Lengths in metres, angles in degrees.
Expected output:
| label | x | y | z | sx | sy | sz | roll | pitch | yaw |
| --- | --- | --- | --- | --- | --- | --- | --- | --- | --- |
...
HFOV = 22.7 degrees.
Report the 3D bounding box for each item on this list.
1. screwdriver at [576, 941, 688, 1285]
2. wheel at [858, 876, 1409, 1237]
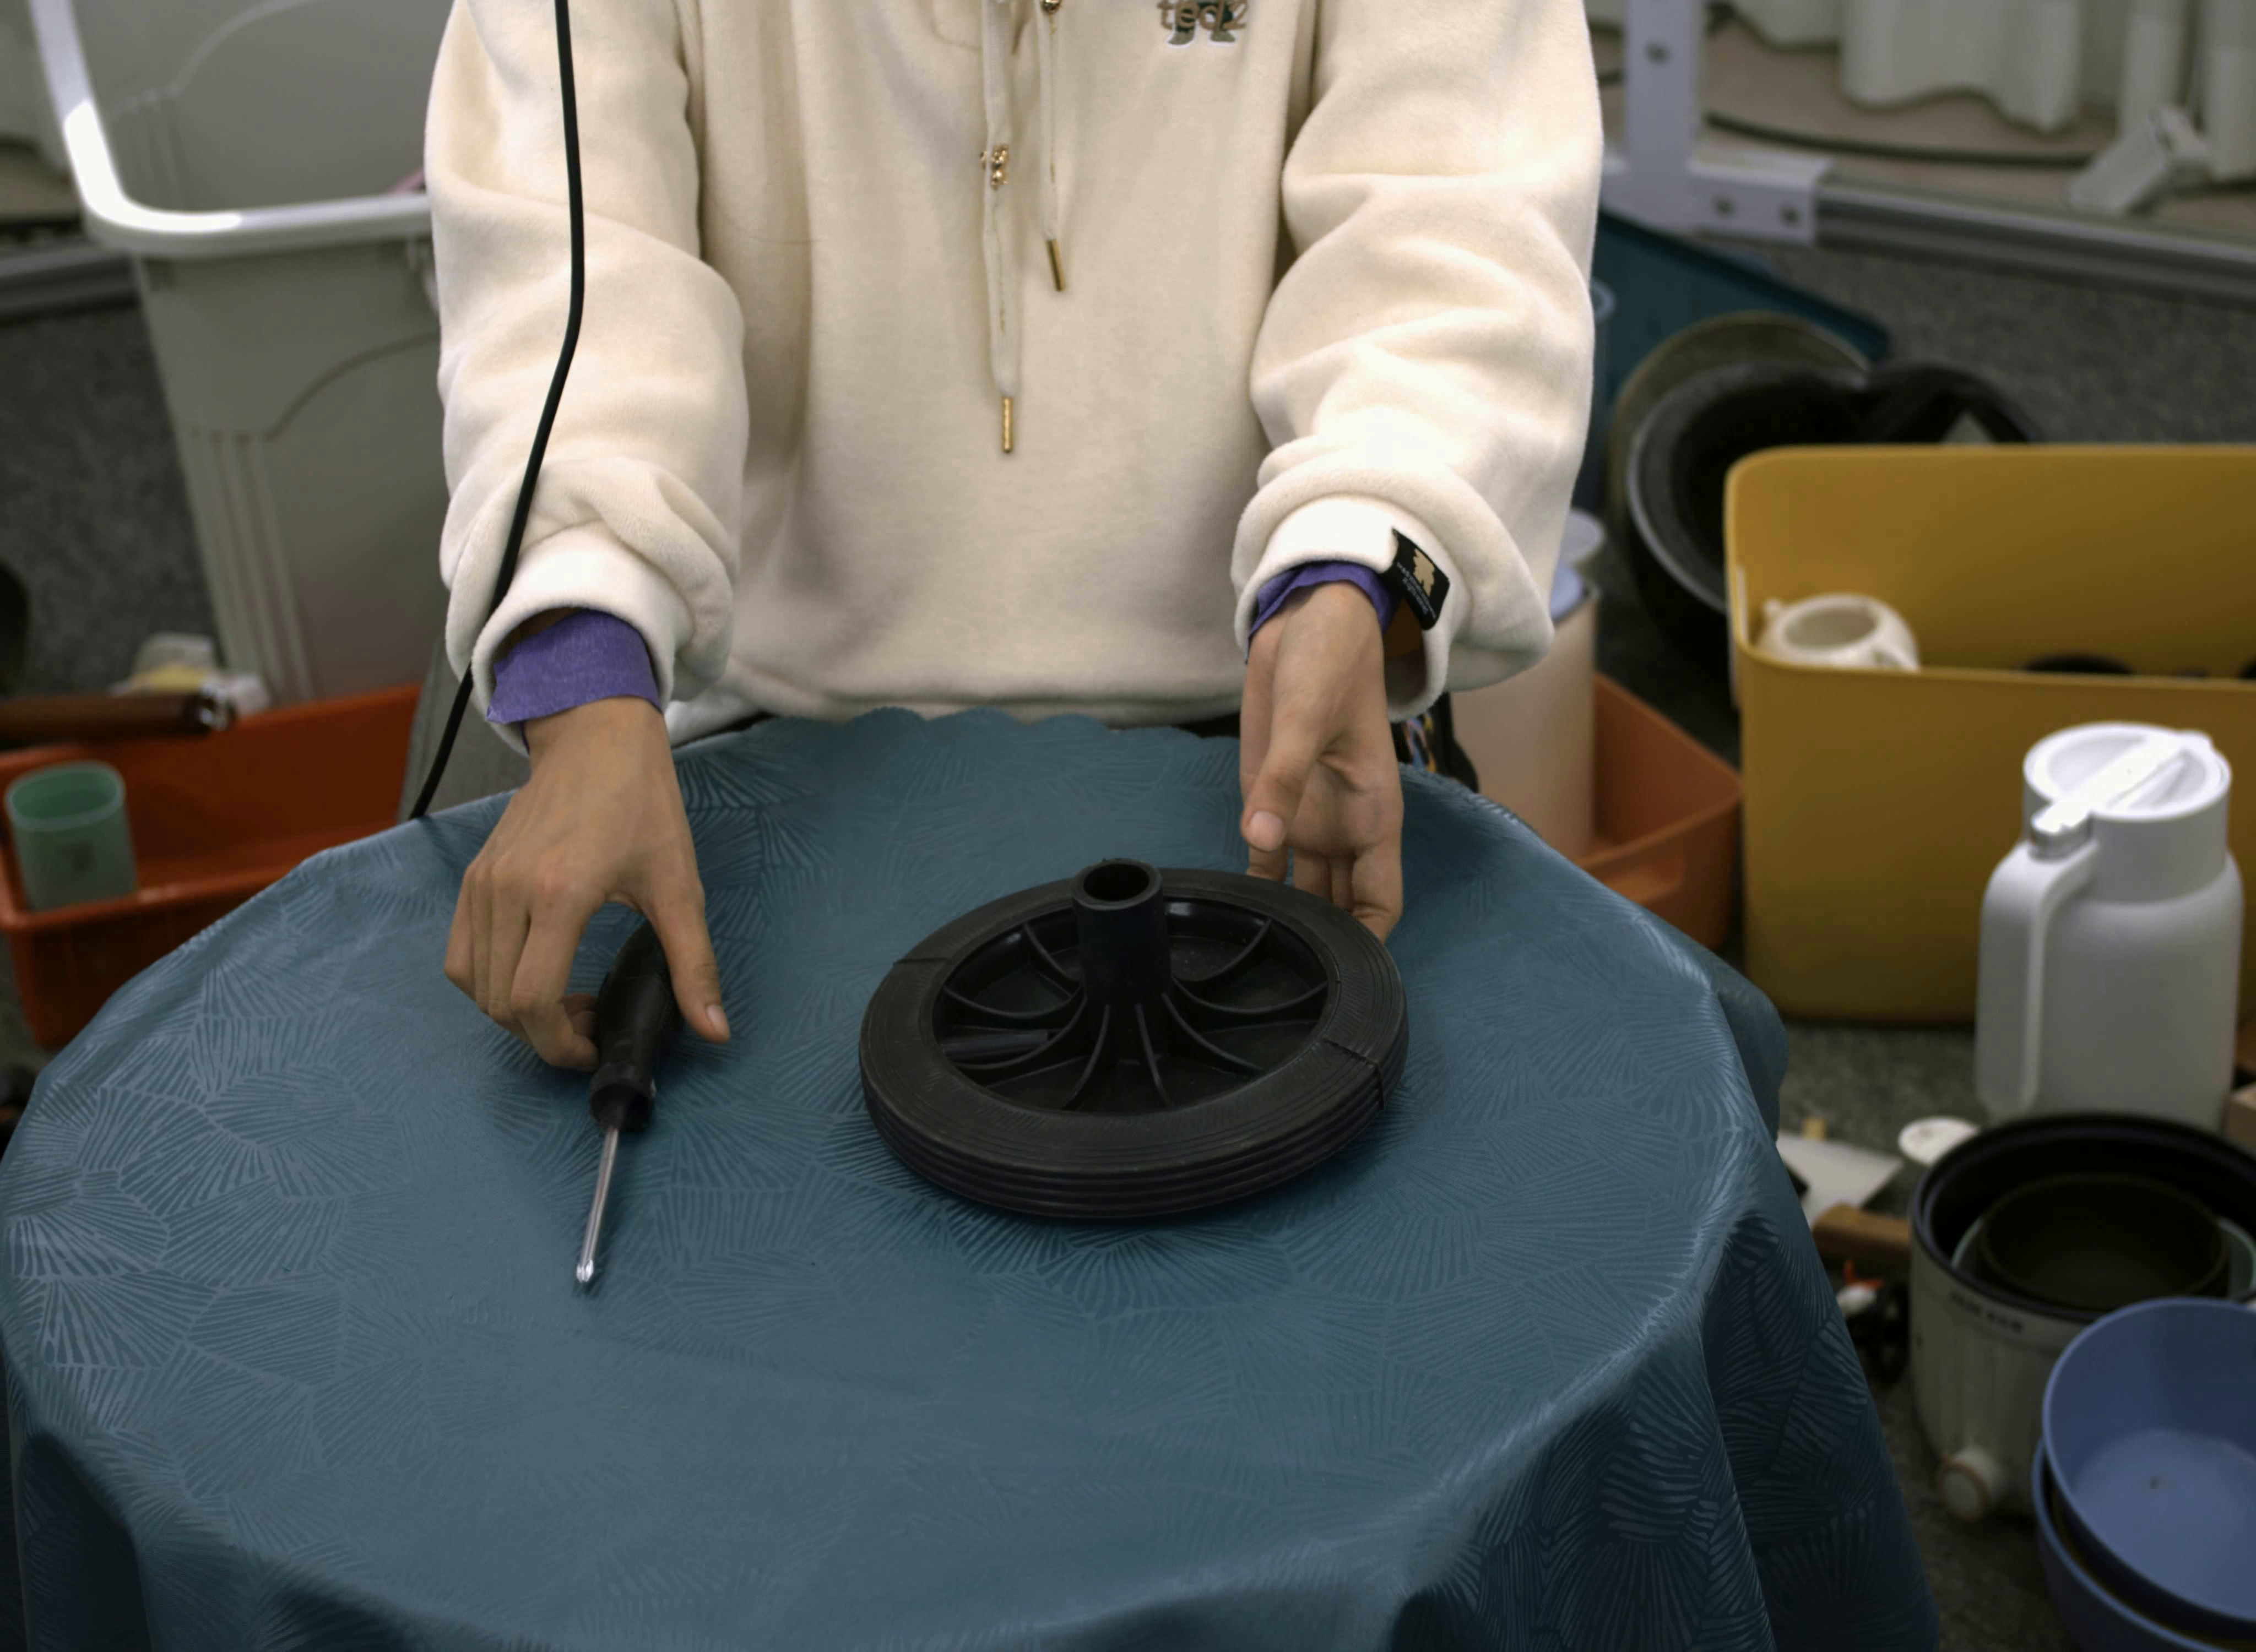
| label | x | y | z | sx | sy | sz | roll | pitch | yaw |
| --- | --- | --- | --- | --- | --- | --- | --- | --- | --- |
| screwdriver | -0.169 | 0.097 | 1.900 | 0.031 | 0.031 | 0.199 | -2 | 29 | 1 |
| wheel | -0.002 | 0.058 | 1.901 | 0.191 | 0.078 | 0.188 | -21 | 34 | -19 |
